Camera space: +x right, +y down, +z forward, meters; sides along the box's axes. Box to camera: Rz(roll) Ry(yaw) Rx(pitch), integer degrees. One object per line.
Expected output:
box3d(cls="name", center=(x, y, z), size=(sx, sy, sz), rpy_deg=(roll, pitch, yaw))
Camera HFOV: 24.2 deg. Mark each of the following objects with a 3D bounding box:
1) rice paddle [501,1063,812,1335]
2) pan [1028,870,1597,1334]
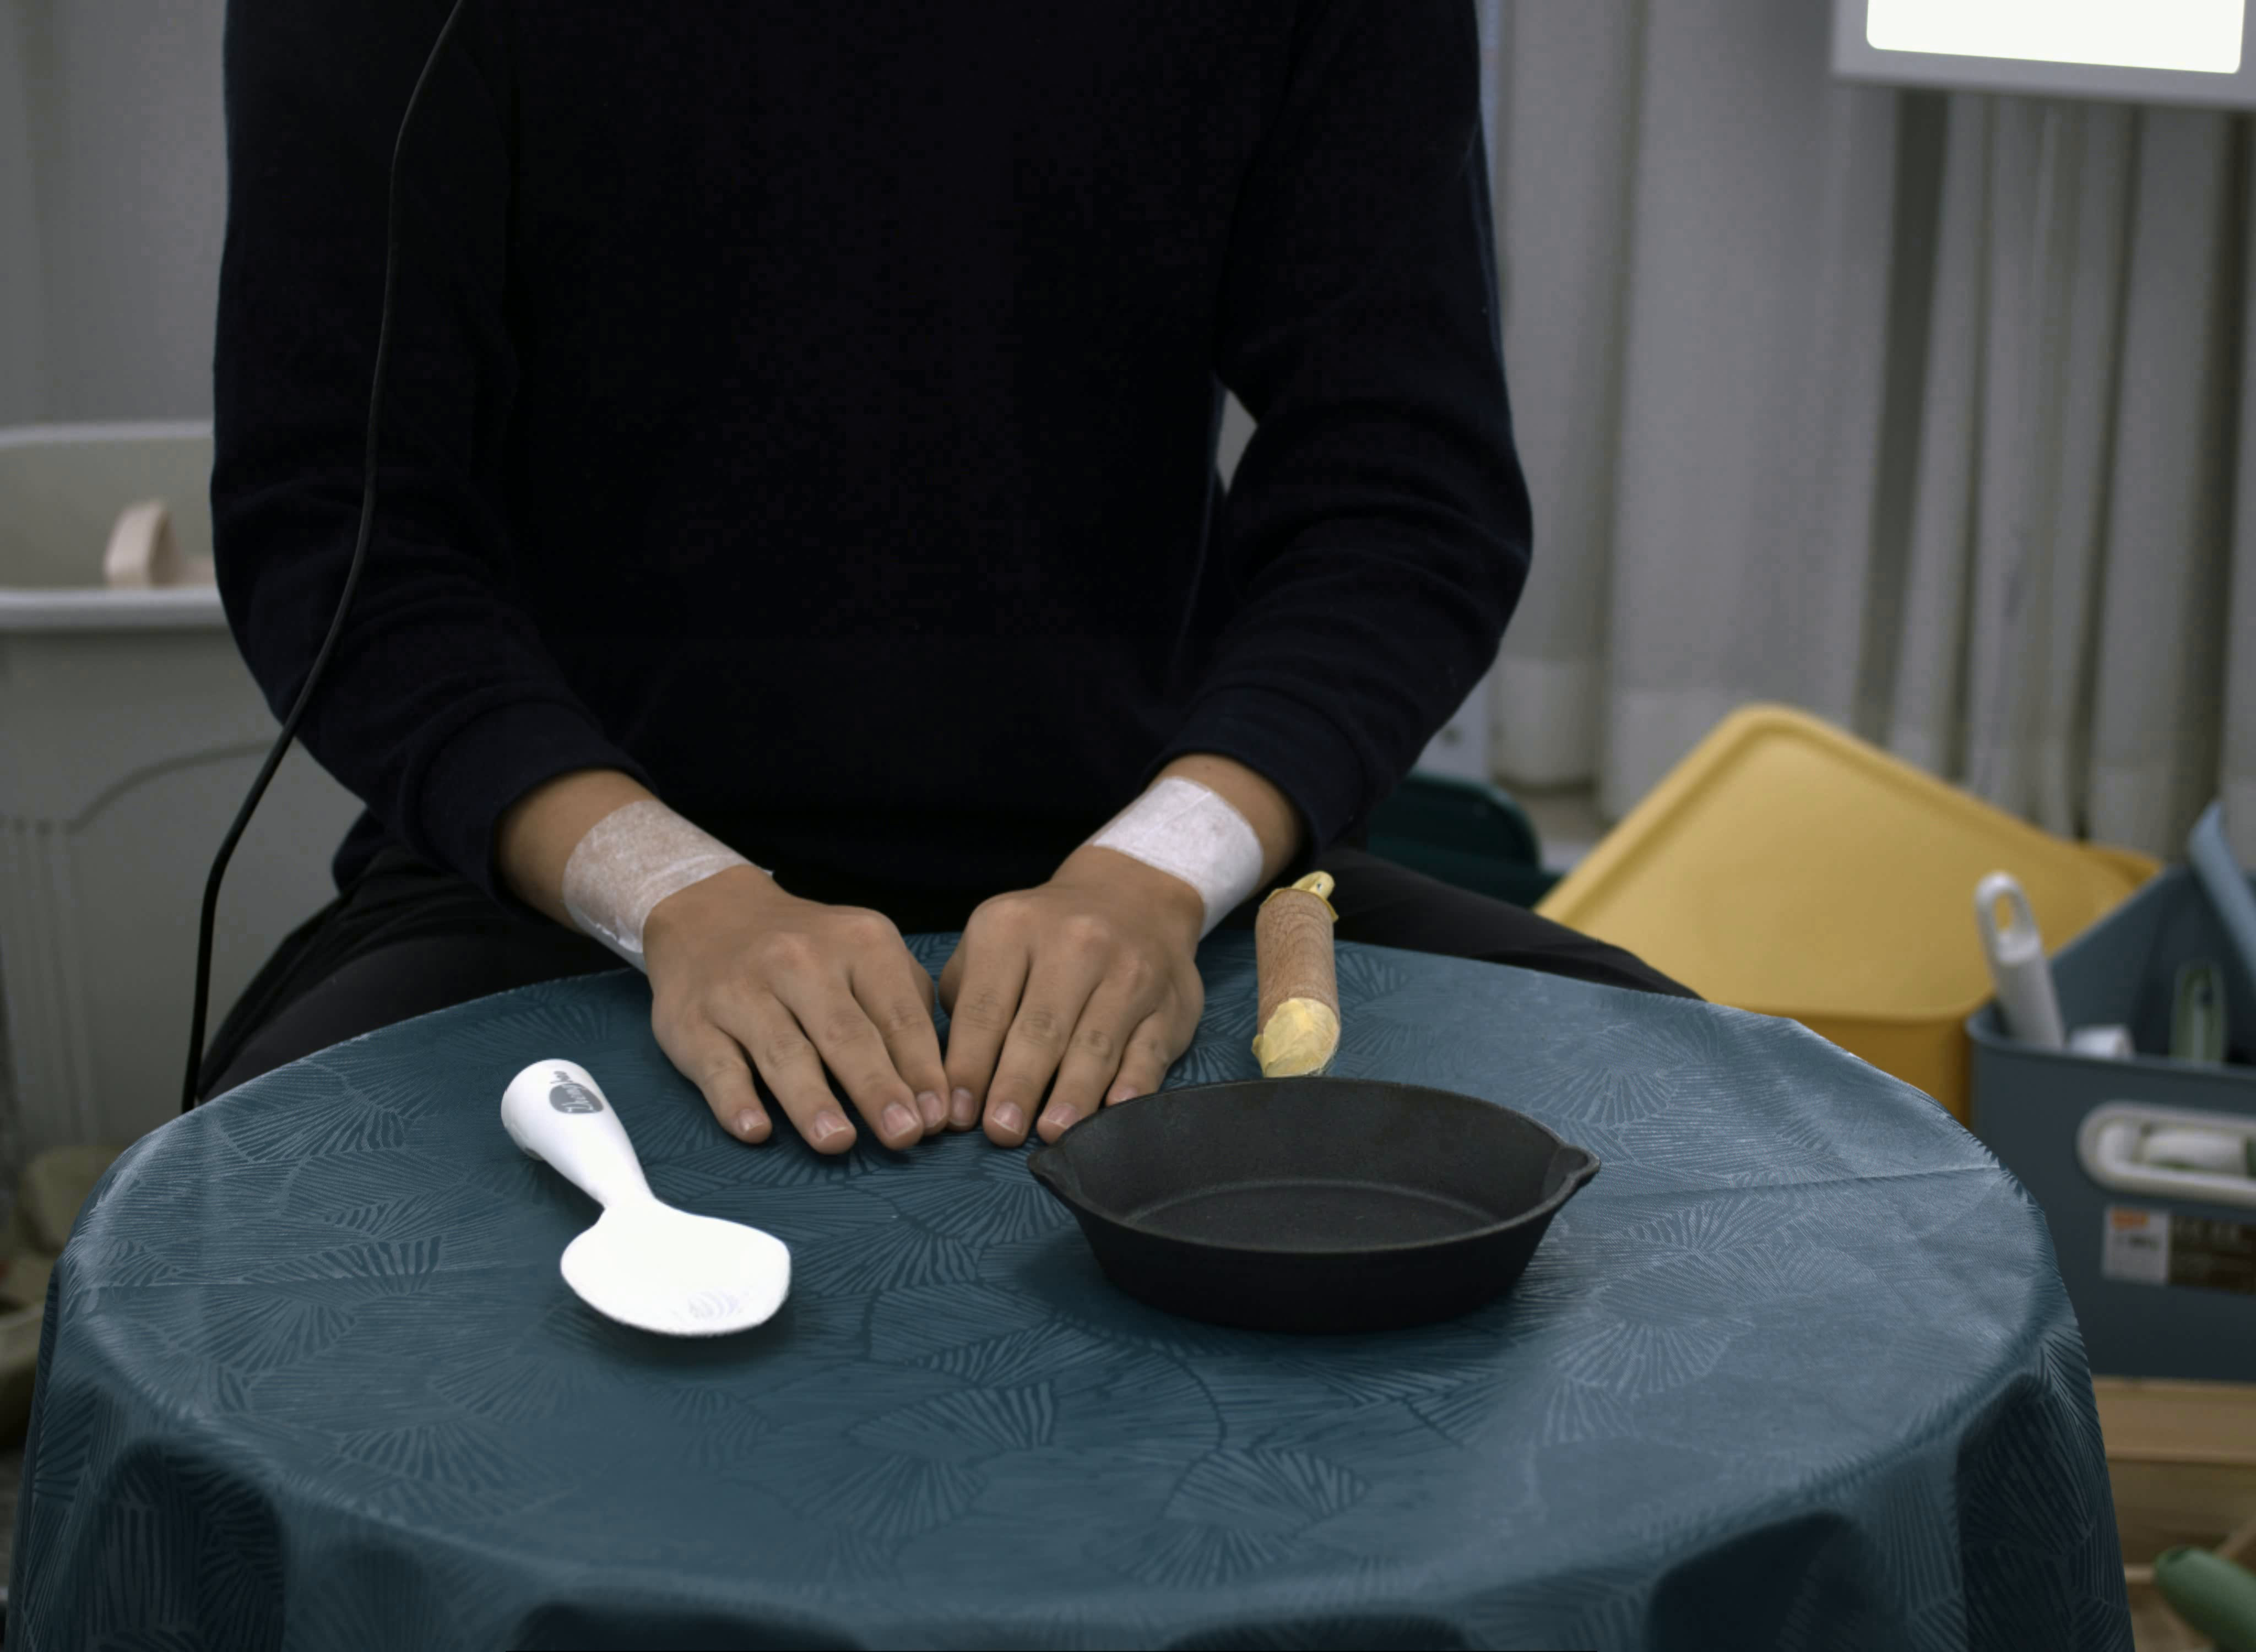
box3d(cls="rice paddle", center=(-0.146, 0.113, 1.564), size=(0.069, 0.029, 0.203), rpy_deg=(-7, 17, -19))
box3d(cls="pan", center=(0.057, 0.082, 1.638), size=(0.168, 0.050, 0.322), rpy_deg=(1, 17, 2))
